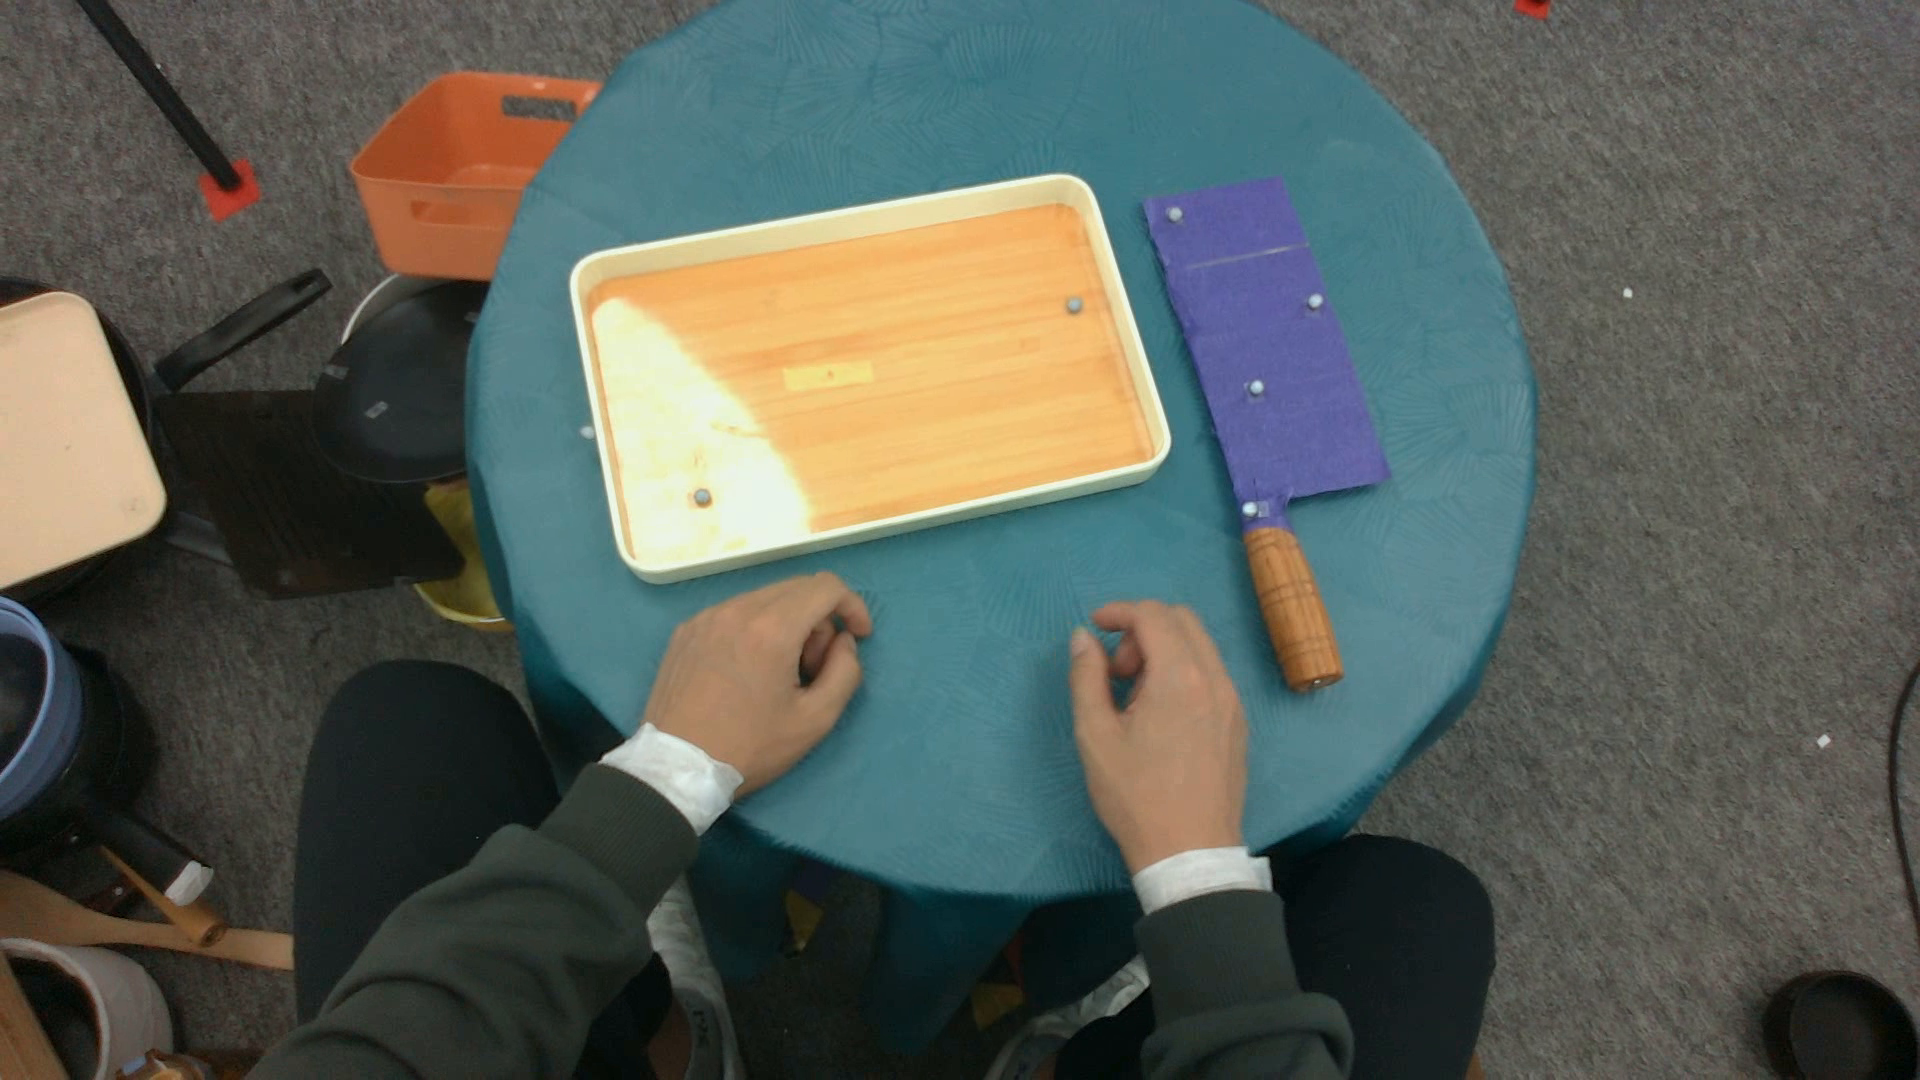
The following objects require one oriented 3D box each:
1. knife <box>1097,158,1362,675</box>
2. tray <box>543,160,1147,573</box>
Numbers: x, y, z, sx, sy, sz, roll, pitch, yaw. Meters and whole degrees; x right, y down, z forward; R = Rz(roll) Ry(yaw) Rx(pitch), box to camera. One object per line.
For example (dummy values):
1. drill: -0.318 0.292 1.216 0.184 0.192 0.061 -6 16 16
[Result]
1. knife: 0.169 -0.083 0.772 0.104 0.032 0.316 -12 71 -9
2. tray: -0.063 -0.101 0.757 0.300 0.027 0.192 -12 72 -10
